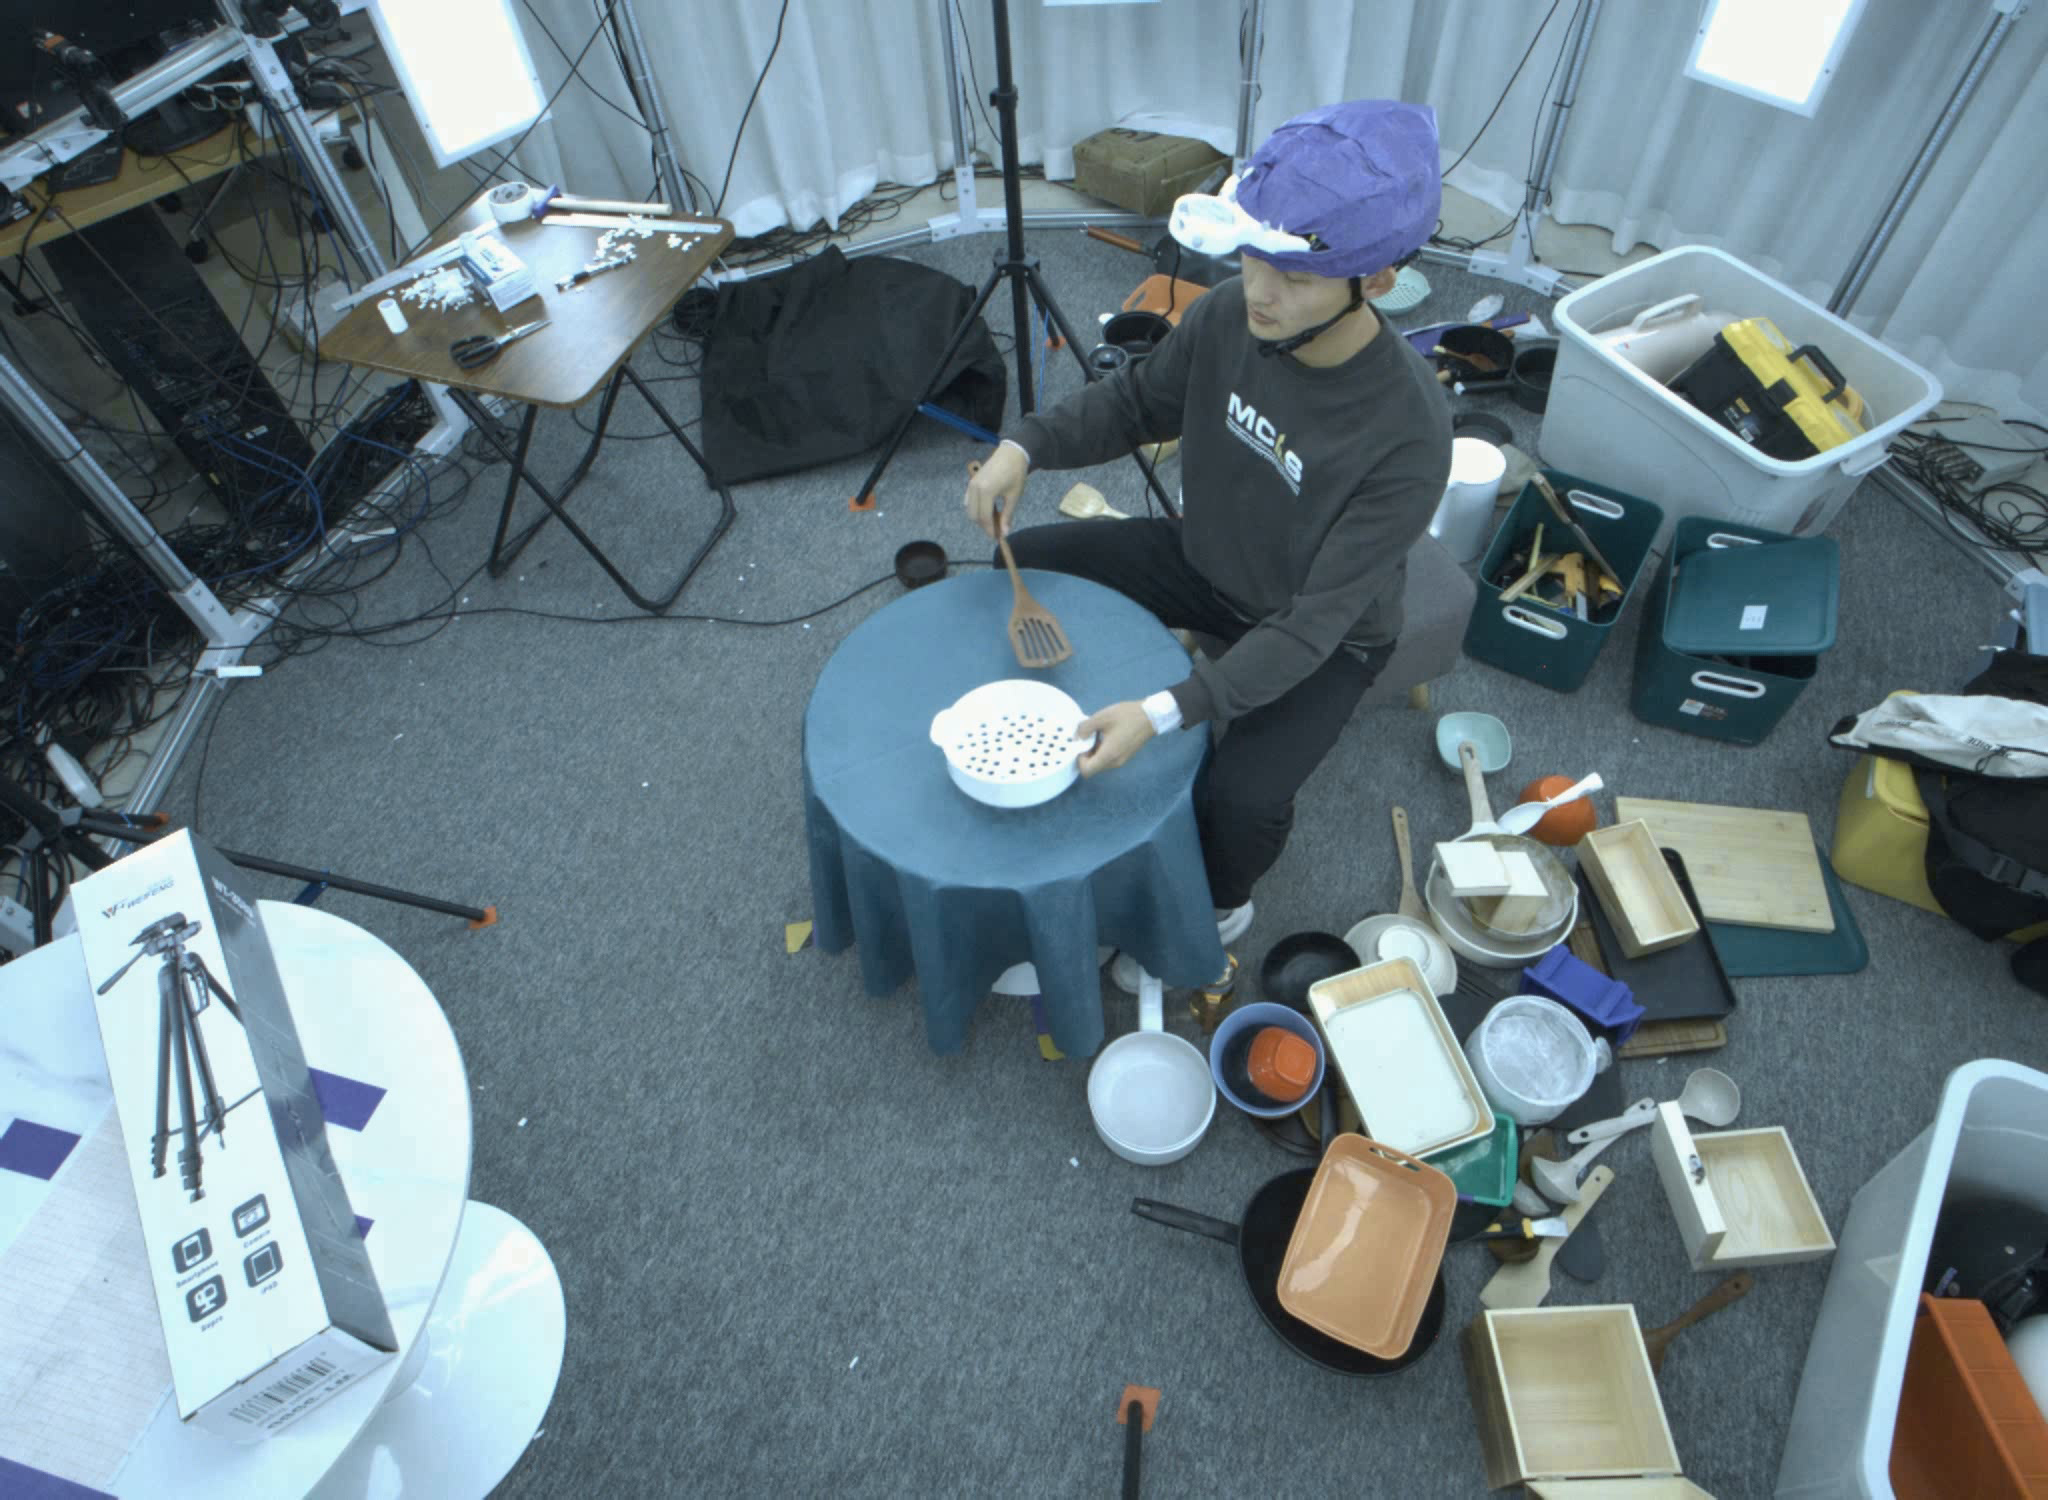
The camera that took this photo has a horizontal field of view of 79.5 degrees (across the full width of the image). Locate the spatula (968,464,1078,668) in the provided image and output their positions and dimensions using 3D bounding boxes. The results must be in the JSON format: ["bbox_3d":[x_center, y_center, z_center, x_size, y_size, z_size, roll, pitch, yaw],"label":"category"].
[{"bbox_3d":[-0.020,-0.288,1.881,0.086,0.024,0.381,-15,70,-15],"label":"spatula"}]

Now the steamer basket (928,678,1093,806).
[{"bbox_3d":[-0.019,-0.010,1.730,0.230,0.070,0.200,6,48,3],"label":"steamer basket"}]
